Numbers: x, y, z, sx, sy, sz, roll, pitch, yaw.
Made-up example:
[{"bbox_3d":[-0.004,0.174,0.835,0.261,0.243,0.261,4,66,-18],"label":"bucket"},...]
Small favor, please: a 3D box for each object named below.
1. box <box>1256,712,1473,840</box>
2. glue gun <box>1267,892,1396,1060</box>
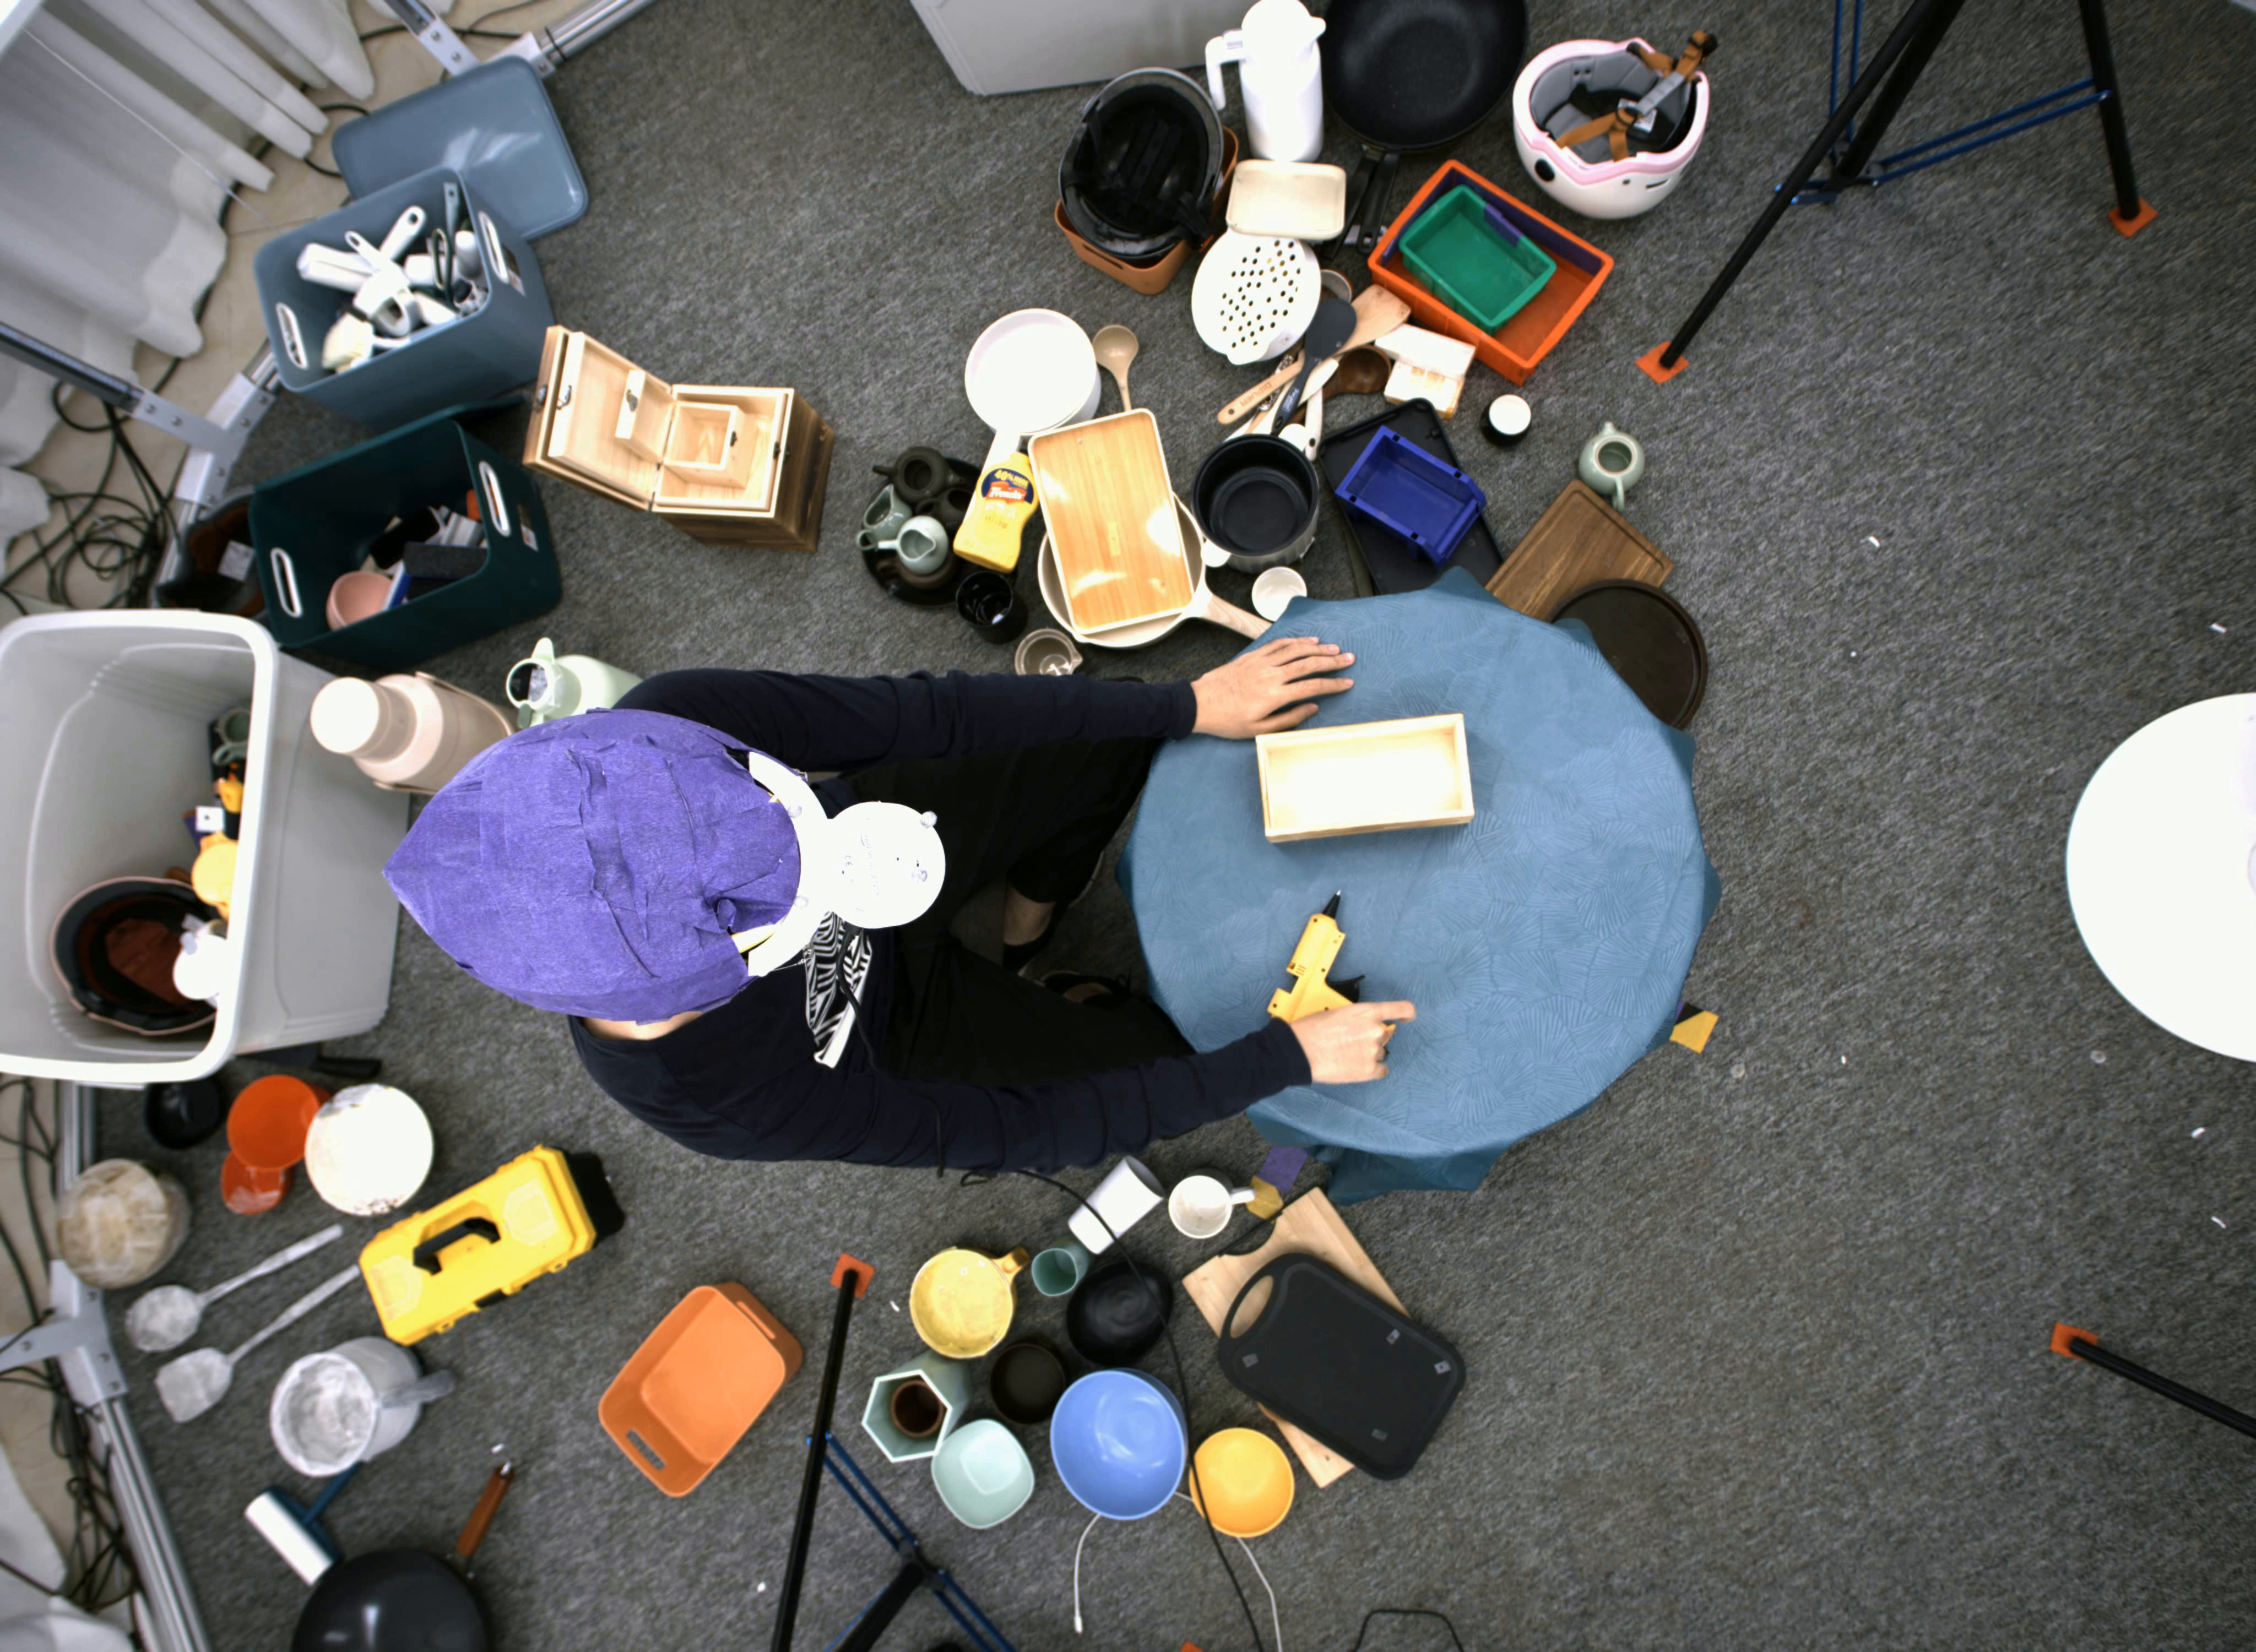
[{"bbox_3d":[0.244,-0.051,1.431,0.212,0.080,0.107,-6,84,9],"label":"box"},{"bbox_3d":[0.232,0.152,1.449,0.133,0.031,0.151,20,91,9],"label":"glue gun"}]
